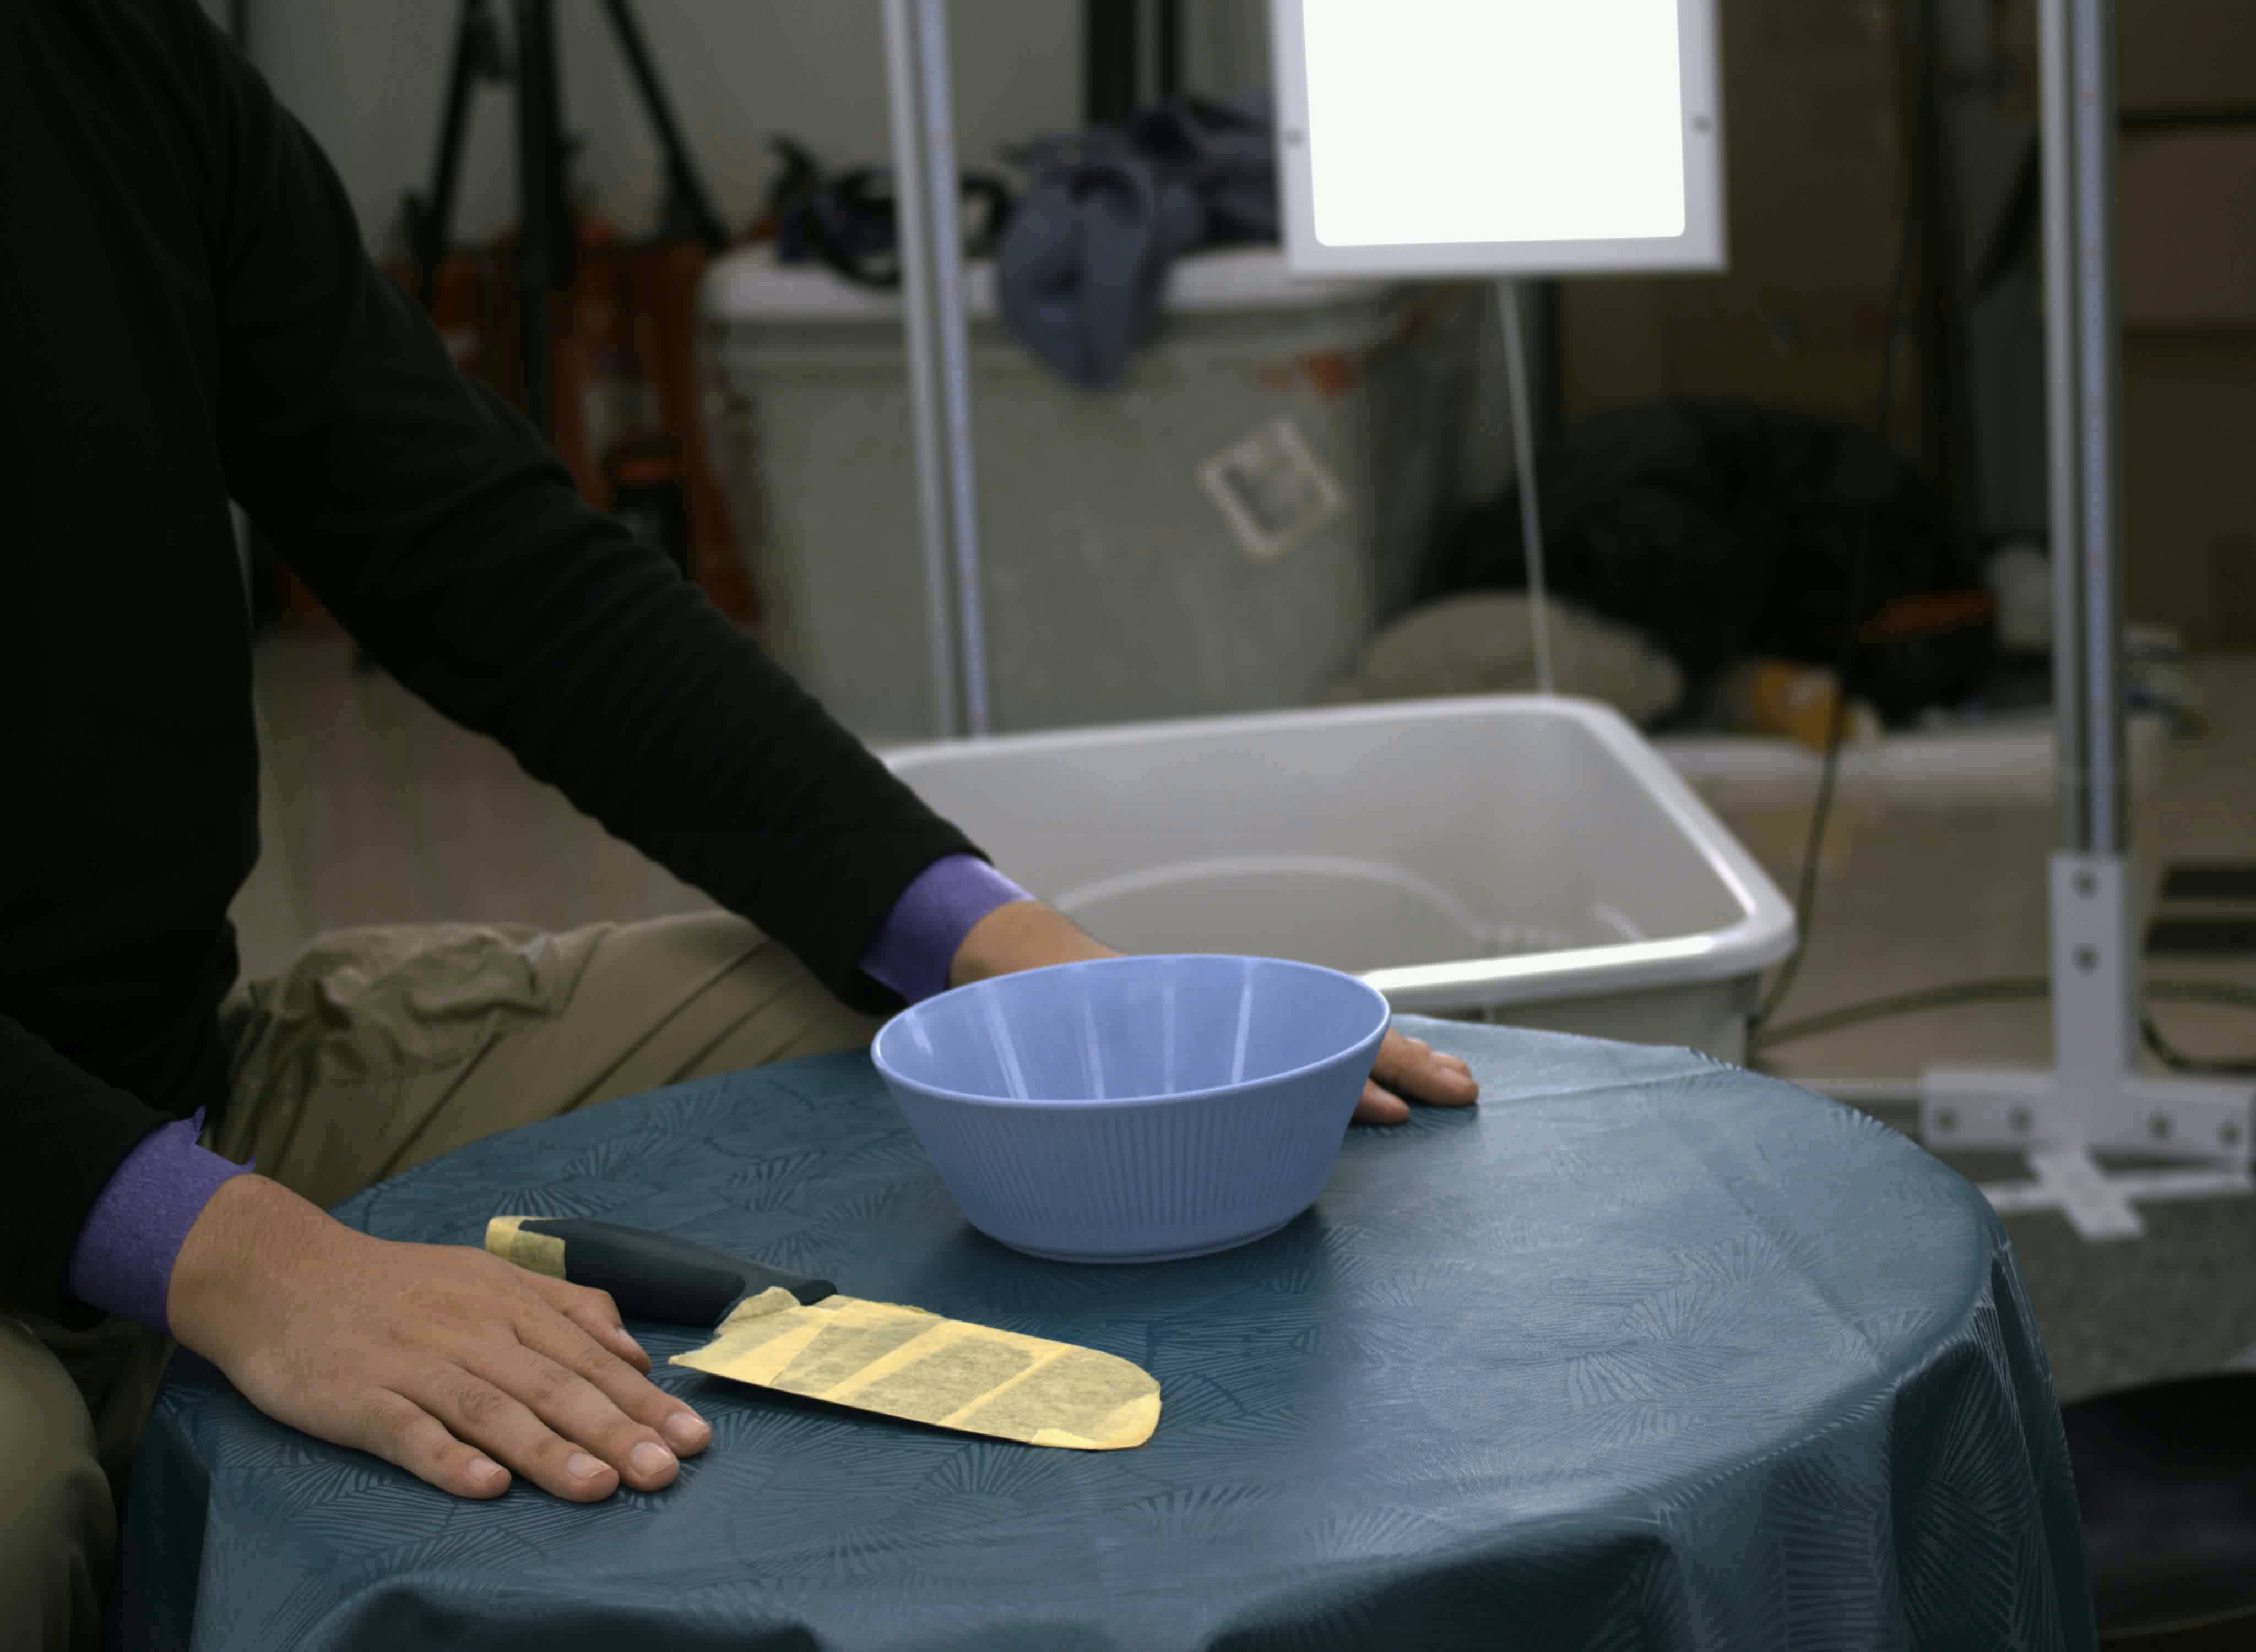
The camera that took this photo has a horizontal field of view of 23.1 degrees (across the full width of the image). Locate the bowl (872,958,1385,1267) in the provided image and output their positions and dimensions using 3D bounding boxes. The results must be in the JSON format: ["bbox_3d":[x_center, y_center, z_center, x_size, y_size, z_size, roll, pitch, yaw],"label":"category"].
[{"bbox_3d":[0.003,0.100,1.865,0.175,0.070,0.176,-5,14,0],"label":"bowl"}]

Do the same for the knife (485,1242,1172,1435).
[{"bbox_3d":[-0.104,0.165,1.755,0.295,0.027,0.079,7,17,38],"label":"knife"}]
